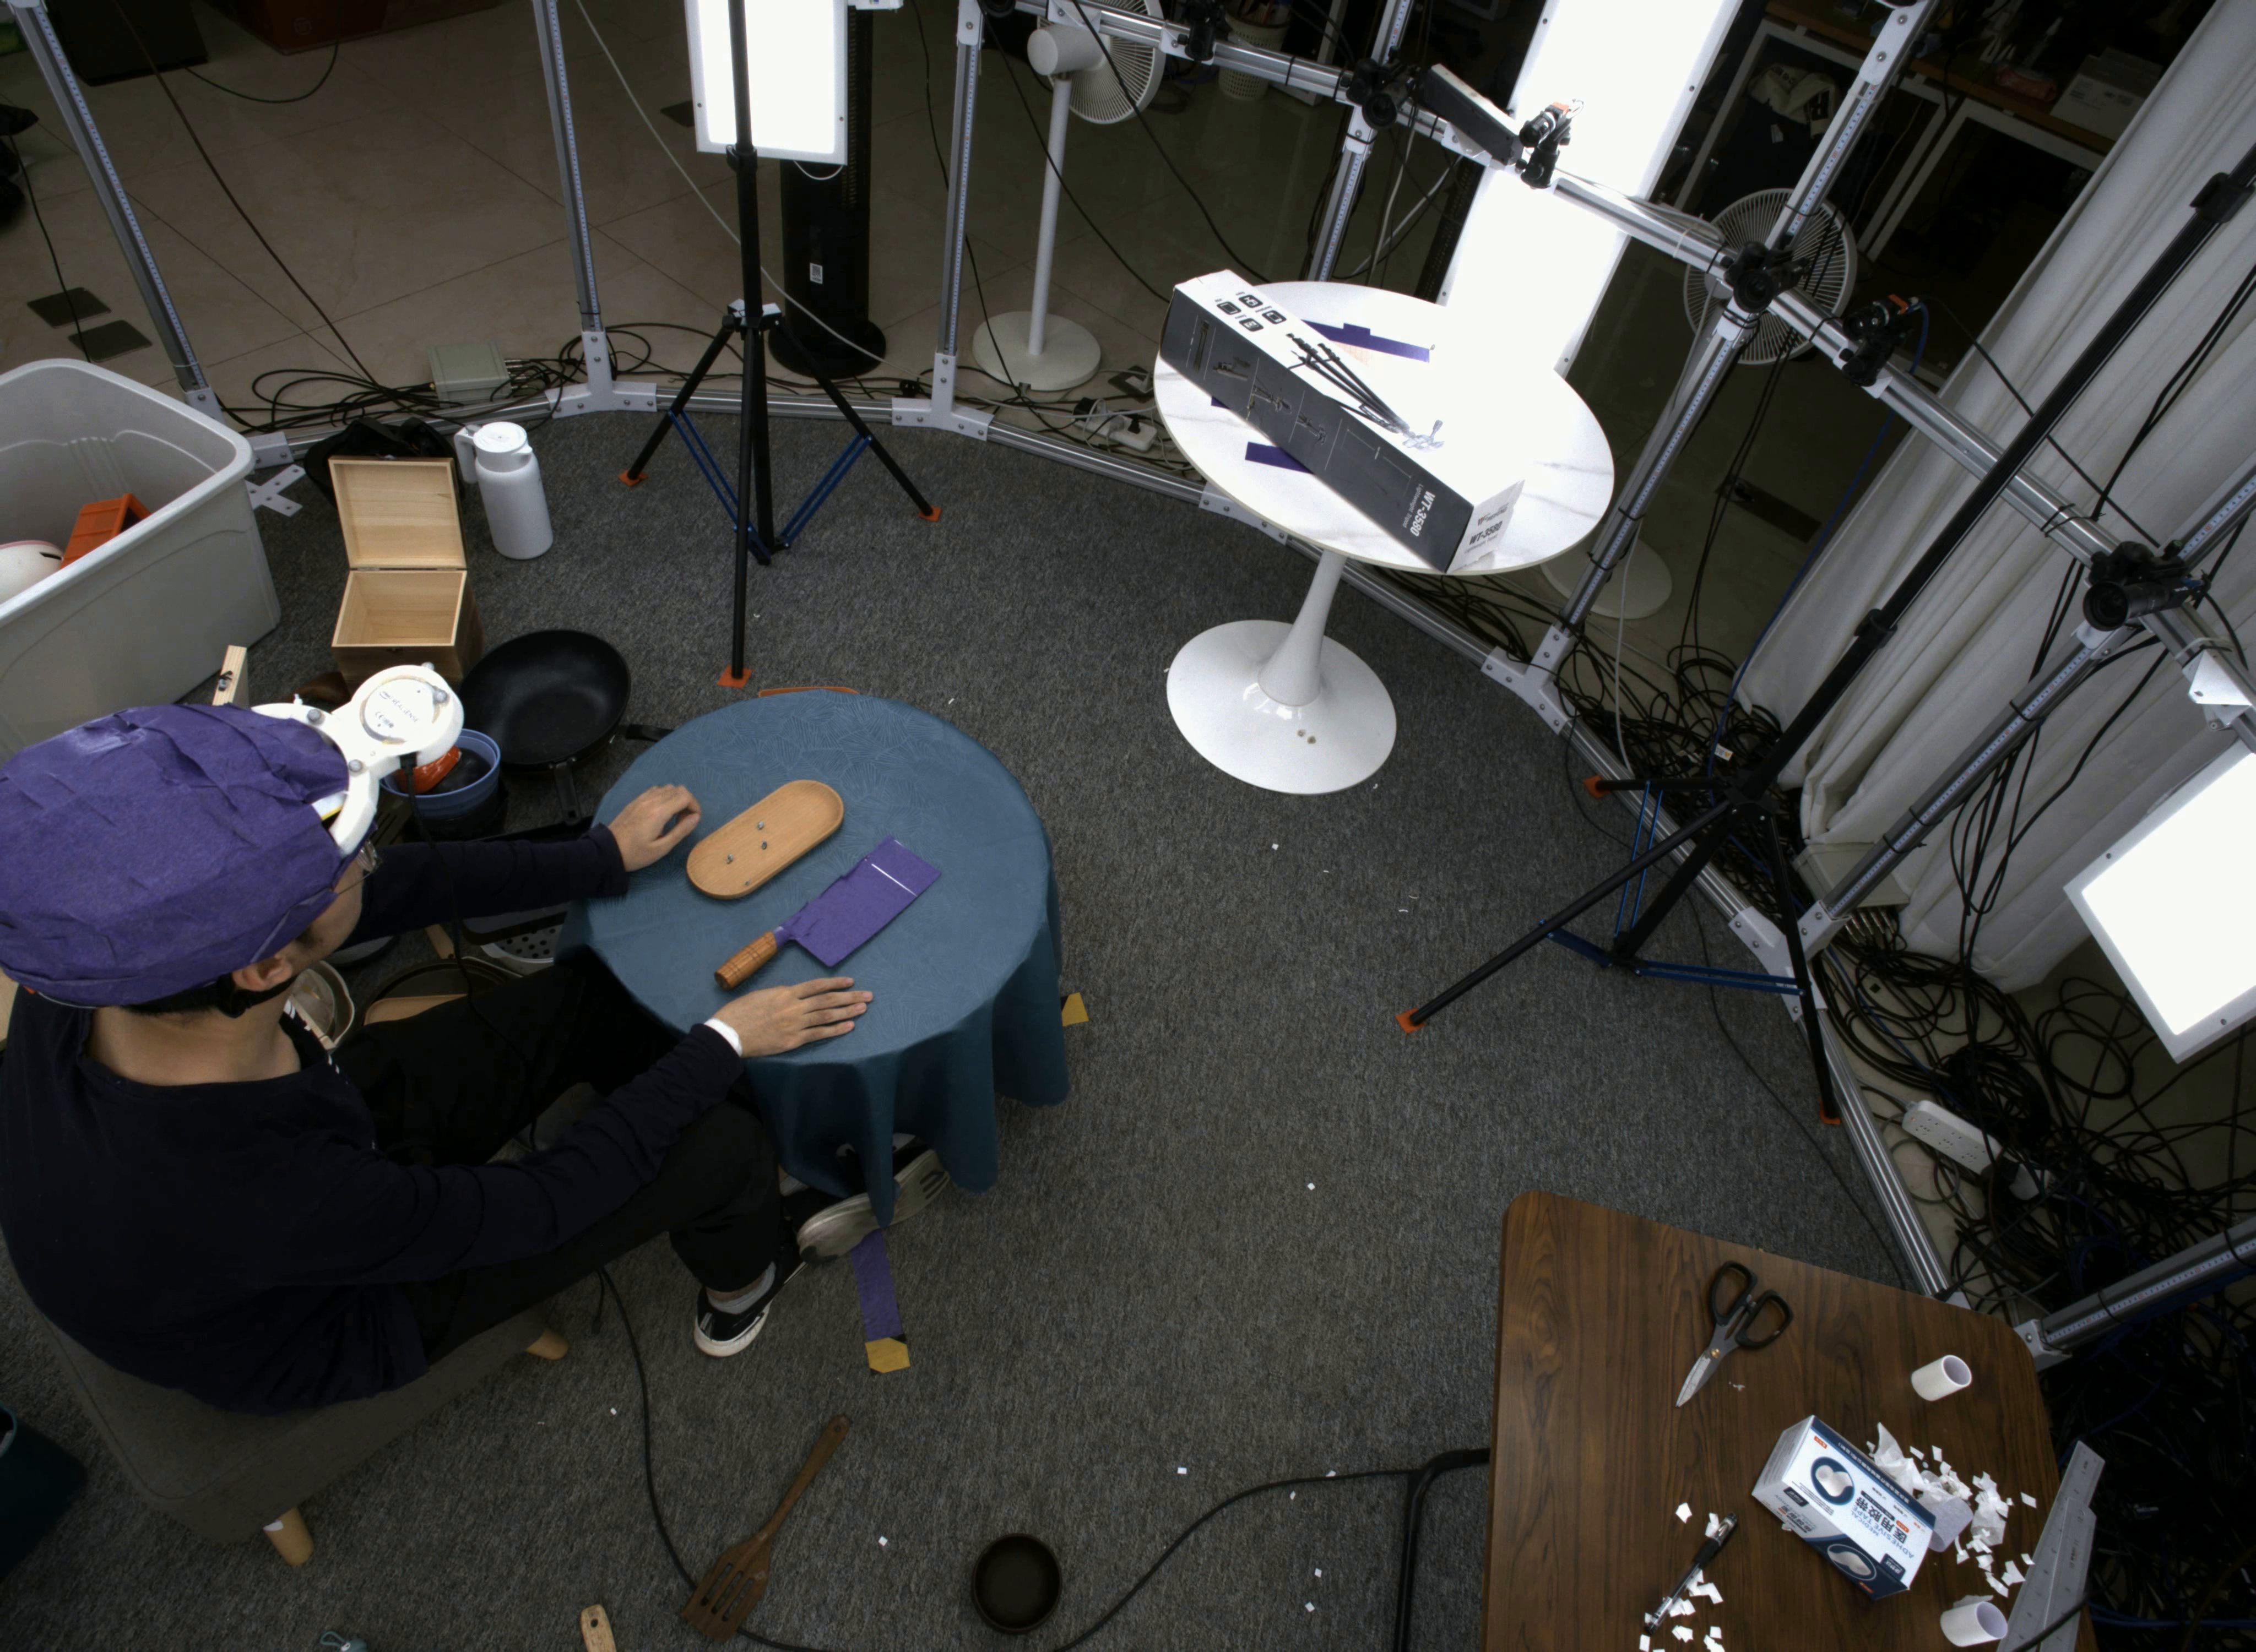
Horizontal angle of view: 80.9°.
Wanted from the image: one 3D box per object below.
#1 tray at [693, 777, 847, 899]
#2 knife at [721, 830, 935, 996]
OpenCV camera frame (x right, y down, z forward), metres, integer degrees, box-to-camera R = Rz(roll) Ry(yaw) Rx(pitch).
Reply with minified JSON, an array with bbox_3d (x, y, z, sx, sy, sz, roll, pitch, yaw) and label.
[{"bbox_3d":[-0.469,0.013,1.704,0.100,0.021,0.231,38,53,13],"label":"tray"},{"bbox_3d":[-0.371,0.118,1.645,0.102,0.033,0.315,35,53,13],"label":"knife"}]
